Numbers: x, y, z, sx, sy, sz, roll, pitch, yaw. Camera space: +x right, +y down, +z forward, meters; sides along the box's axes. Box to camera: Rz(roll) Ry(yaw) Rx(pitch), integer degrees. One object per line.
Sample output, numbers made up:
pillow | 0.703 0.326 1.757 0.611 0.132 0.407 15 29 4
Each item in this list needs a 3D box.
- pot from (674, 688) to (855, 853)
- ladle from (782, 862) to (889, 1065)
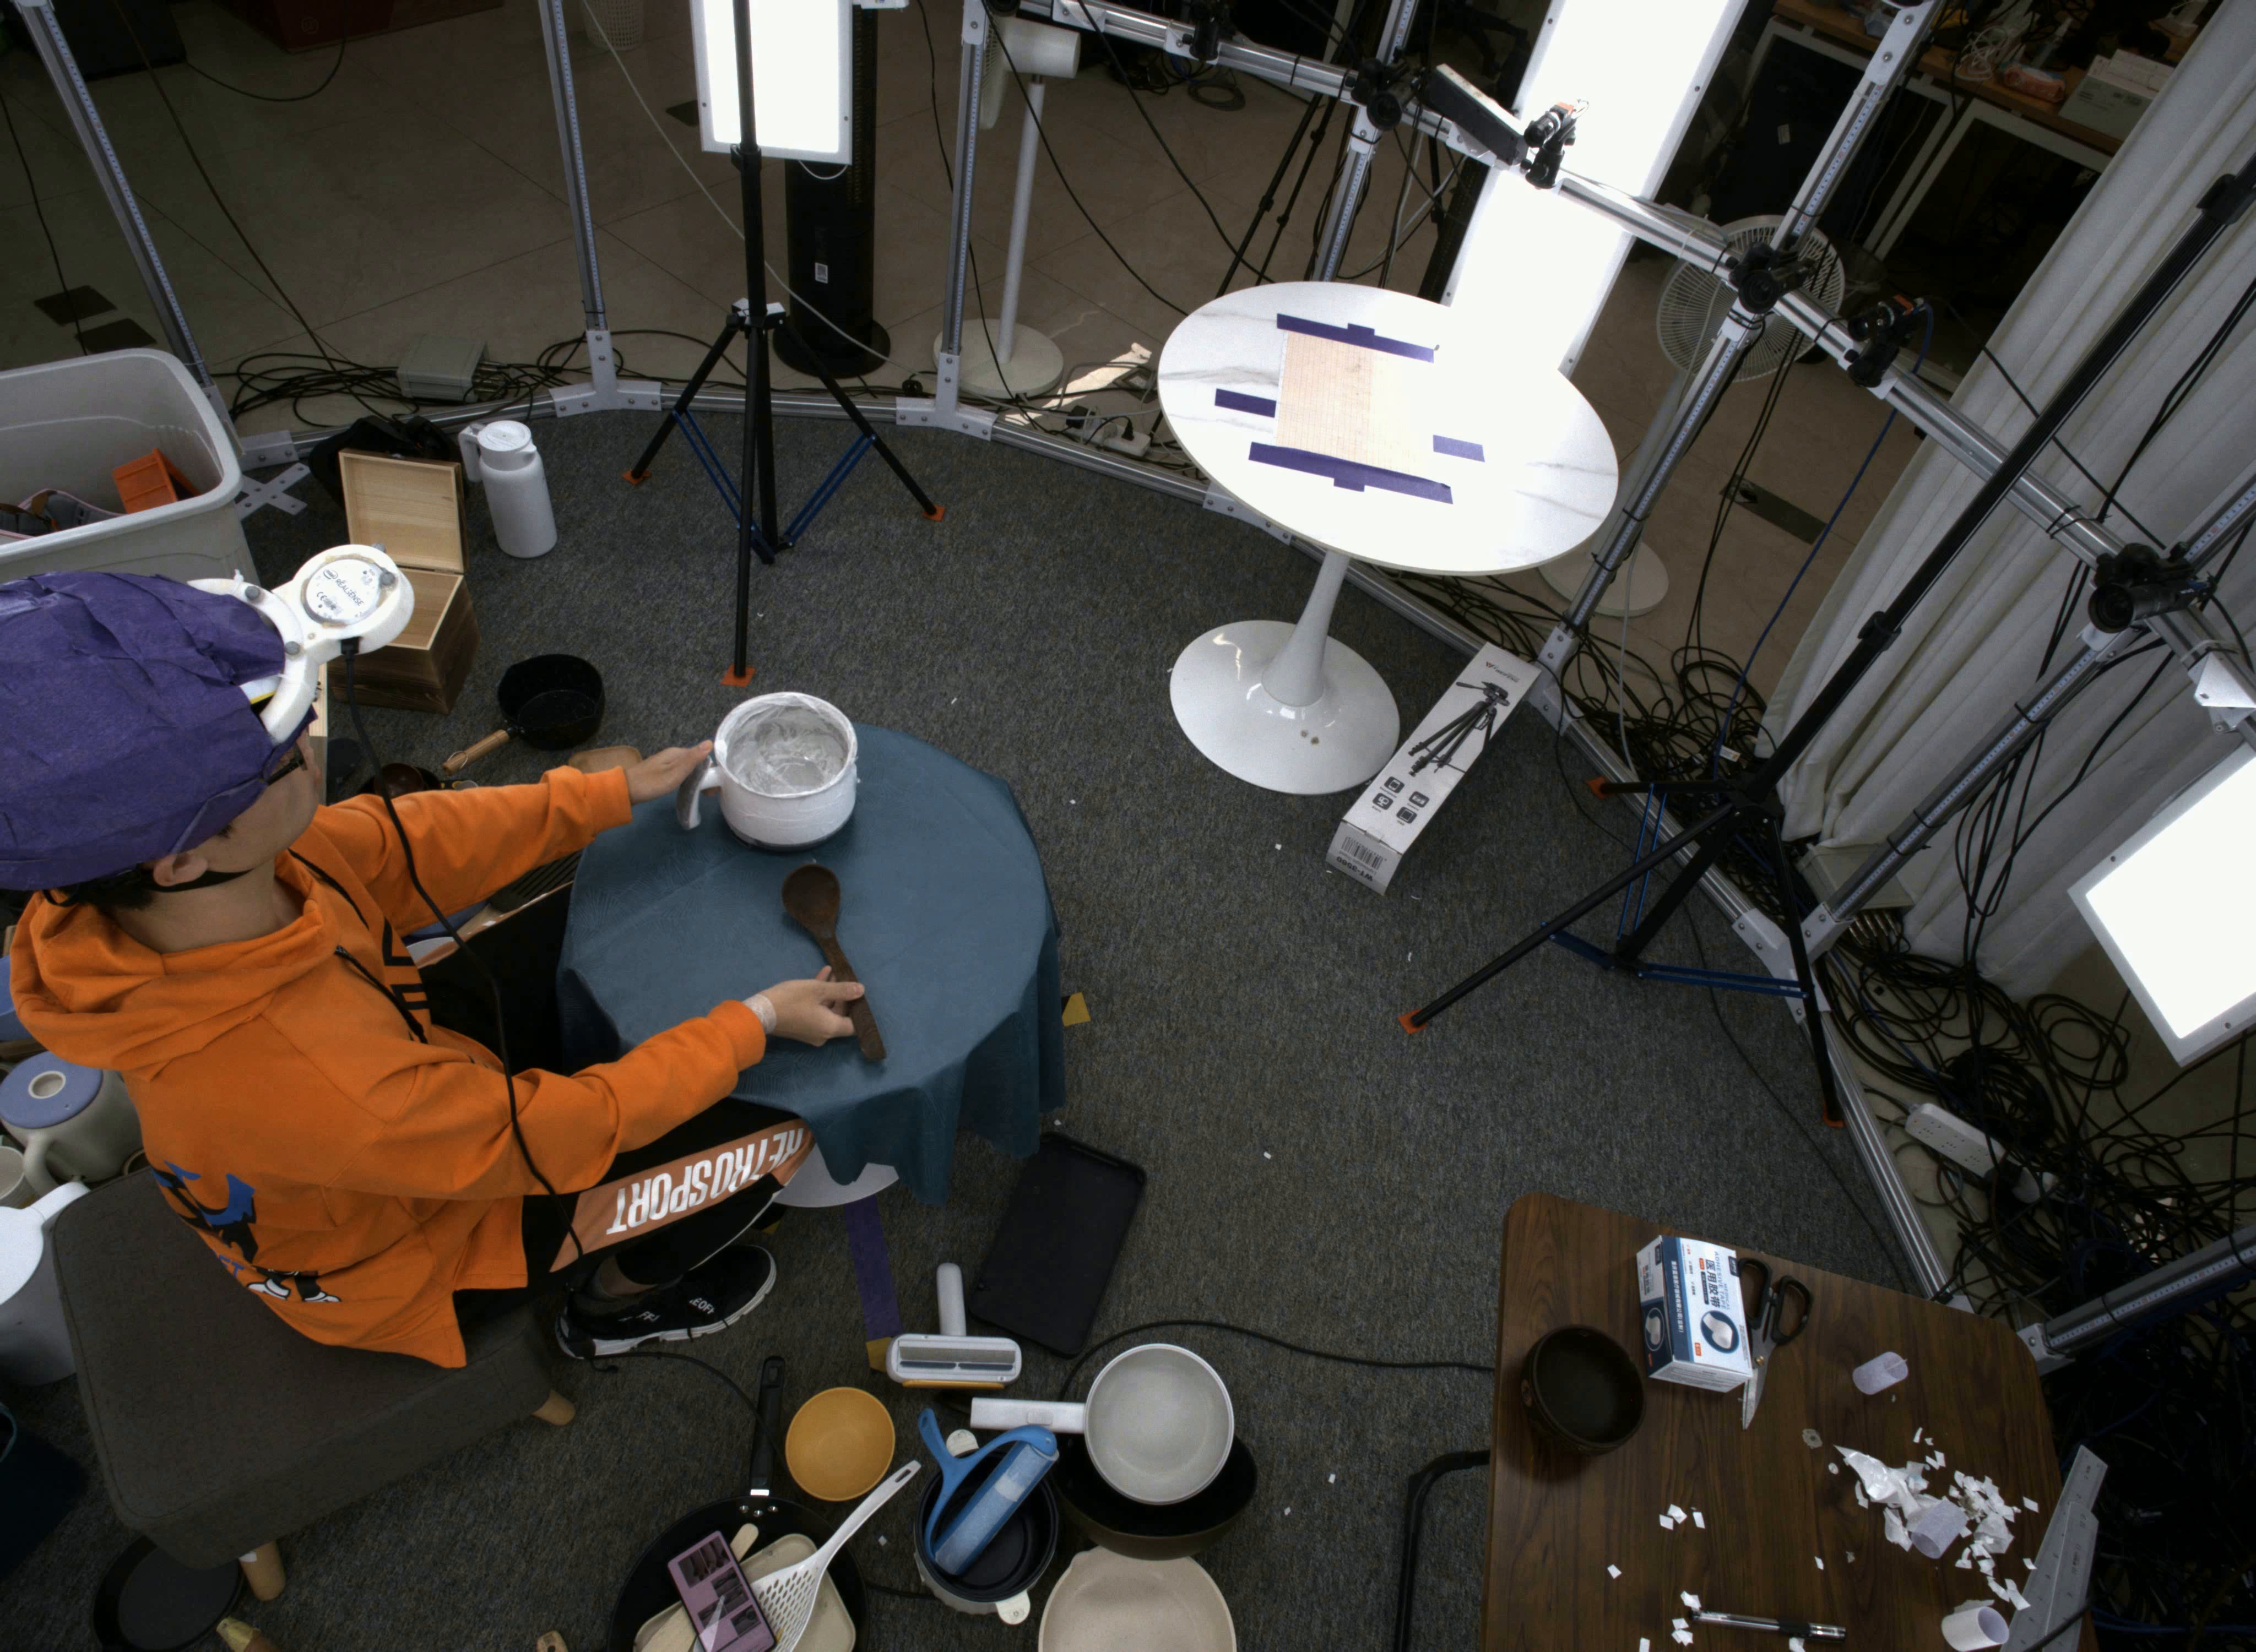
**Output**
pot | -0.467 -0.061 1.659 0.235 0.139 0.174 -16 58 -25
ladle | -0.347 0.157 1.564 0.076 0.073 0.266 -17 54 -23
